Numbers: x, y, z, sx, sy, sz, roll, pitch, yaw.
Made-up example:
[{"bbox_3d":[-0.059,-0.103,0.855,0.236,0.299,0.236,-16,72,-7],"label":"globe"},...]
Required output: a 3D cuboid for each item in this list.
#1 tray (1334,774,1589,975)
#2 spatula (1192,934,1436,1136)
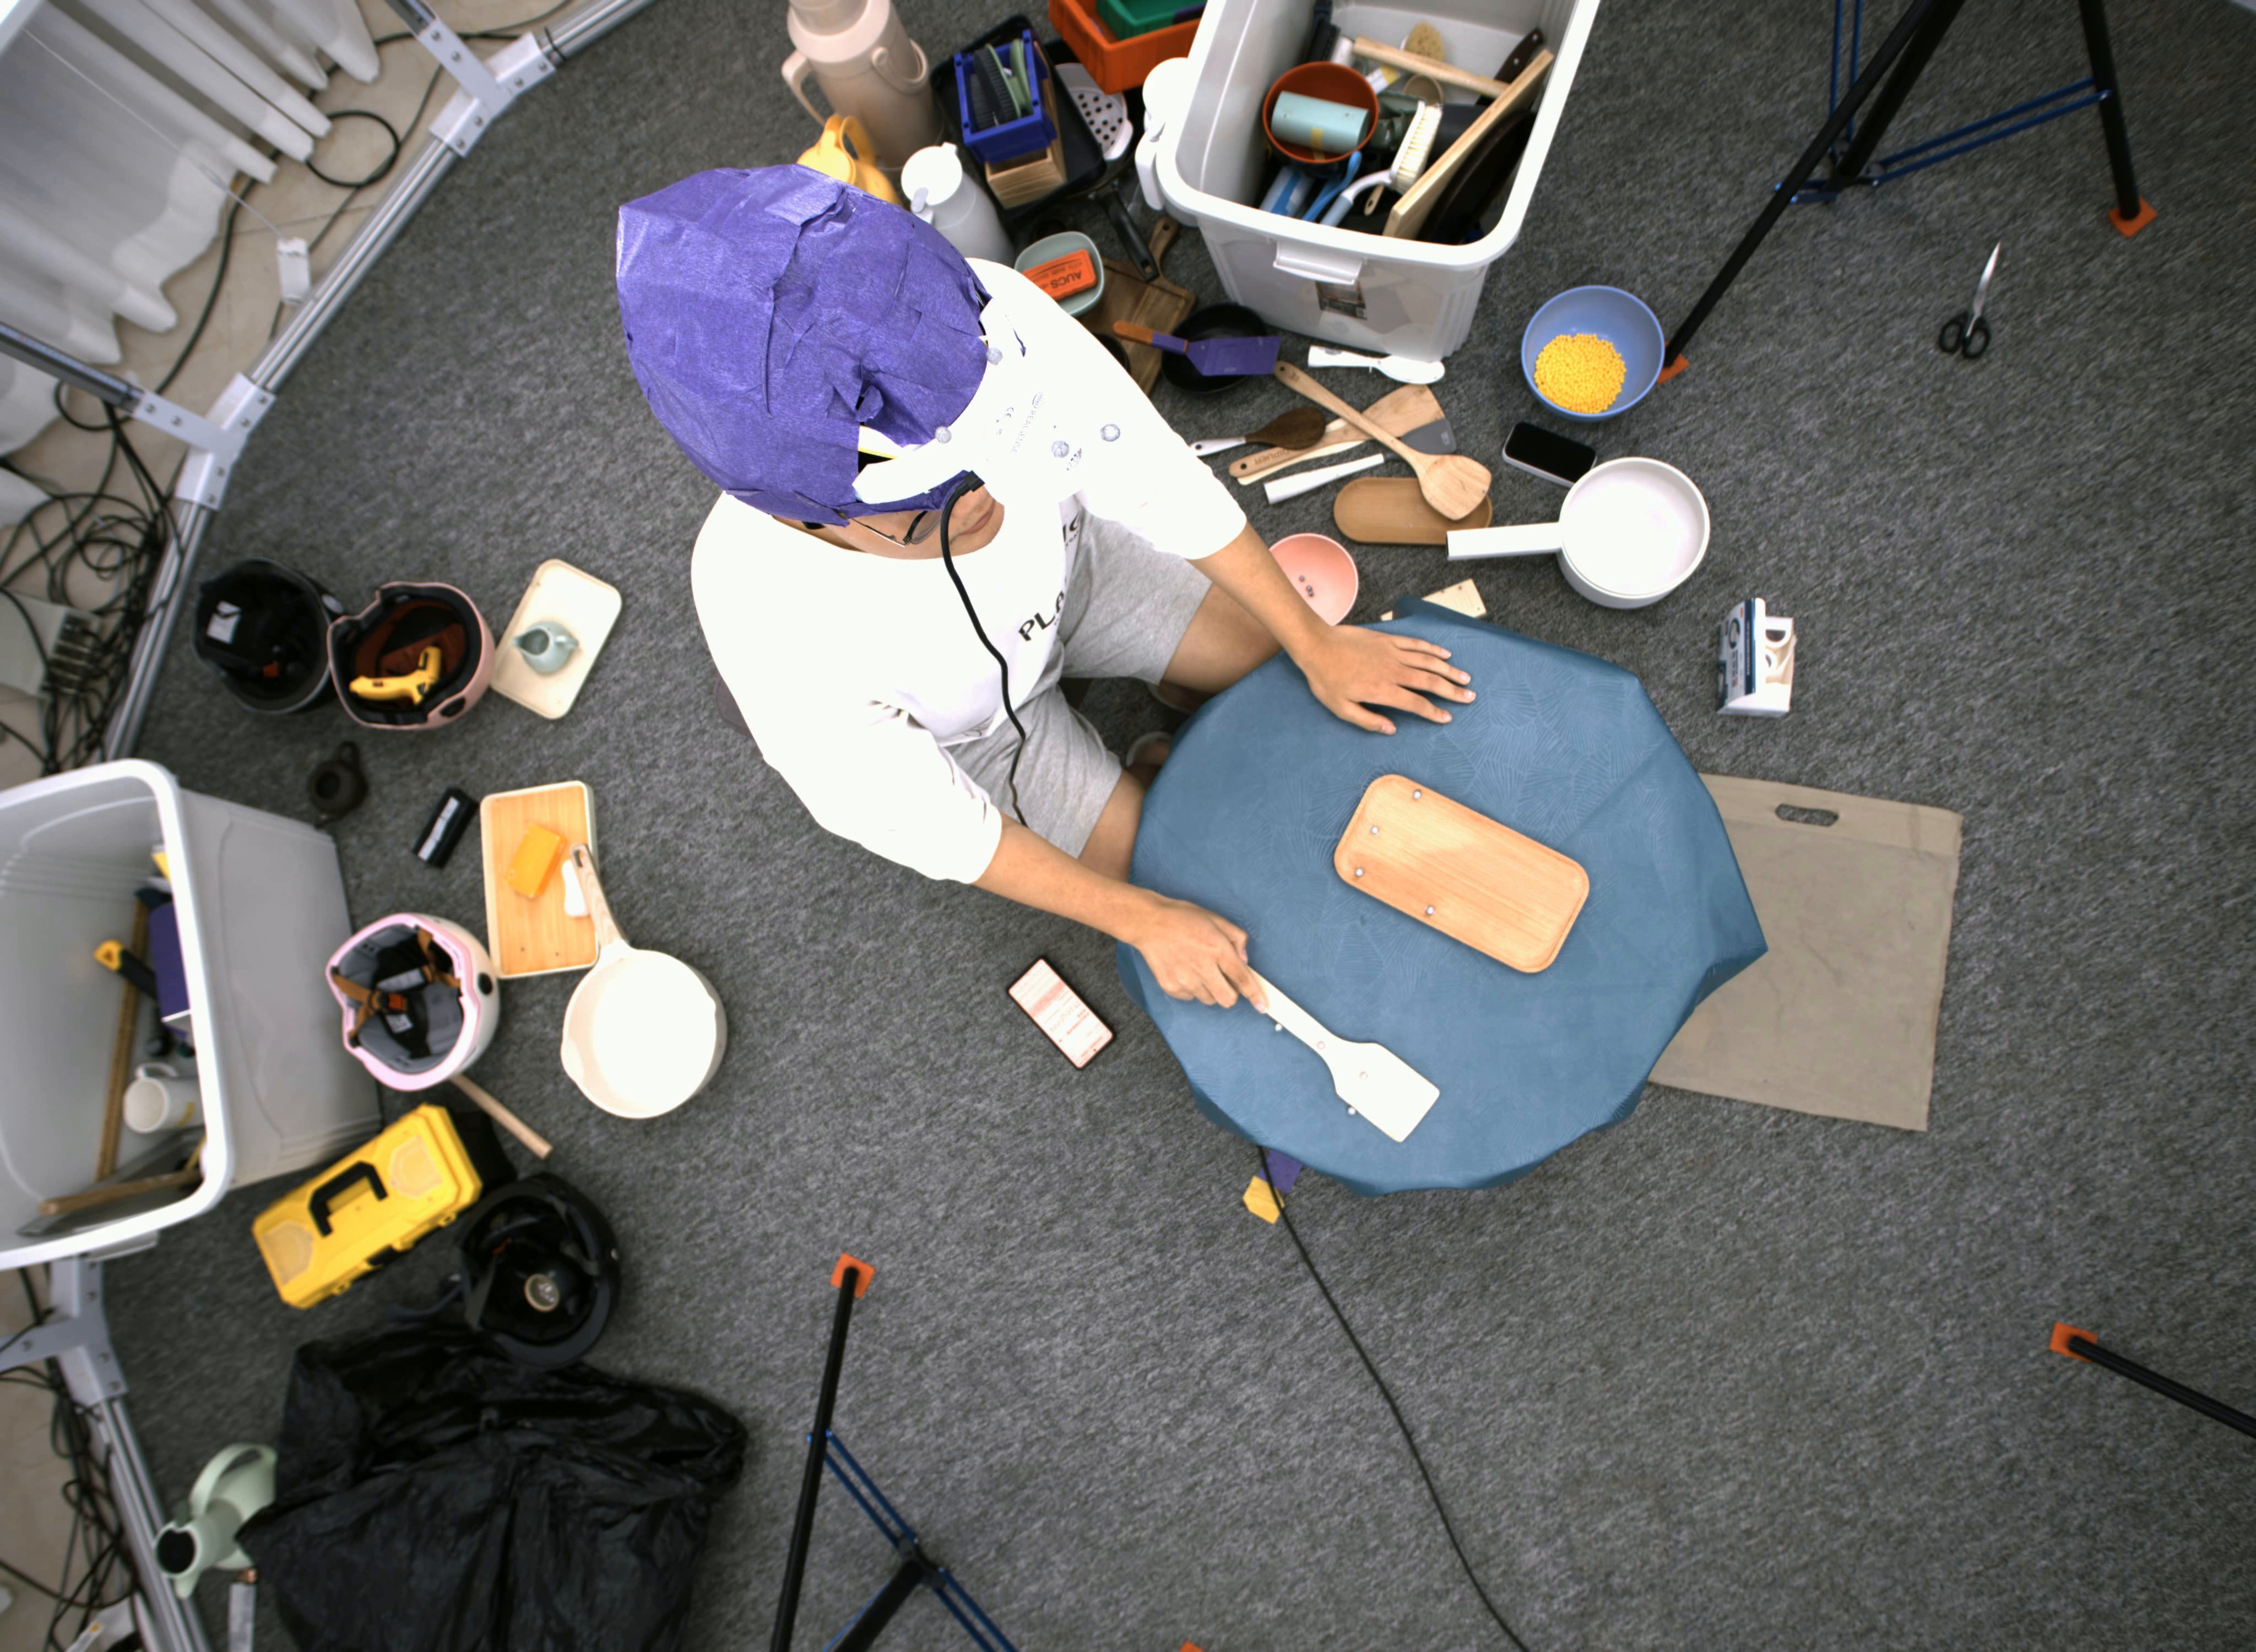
[{"bbox_3d":[0.347,0.048,1.438,0.250,0.023,0.131,29,95,11],"label":"tray"},{"bbox_3d":[0.187,0.209,1.454,0.292,0.010,0.072,37,96,6],"label":"spatula"}]
